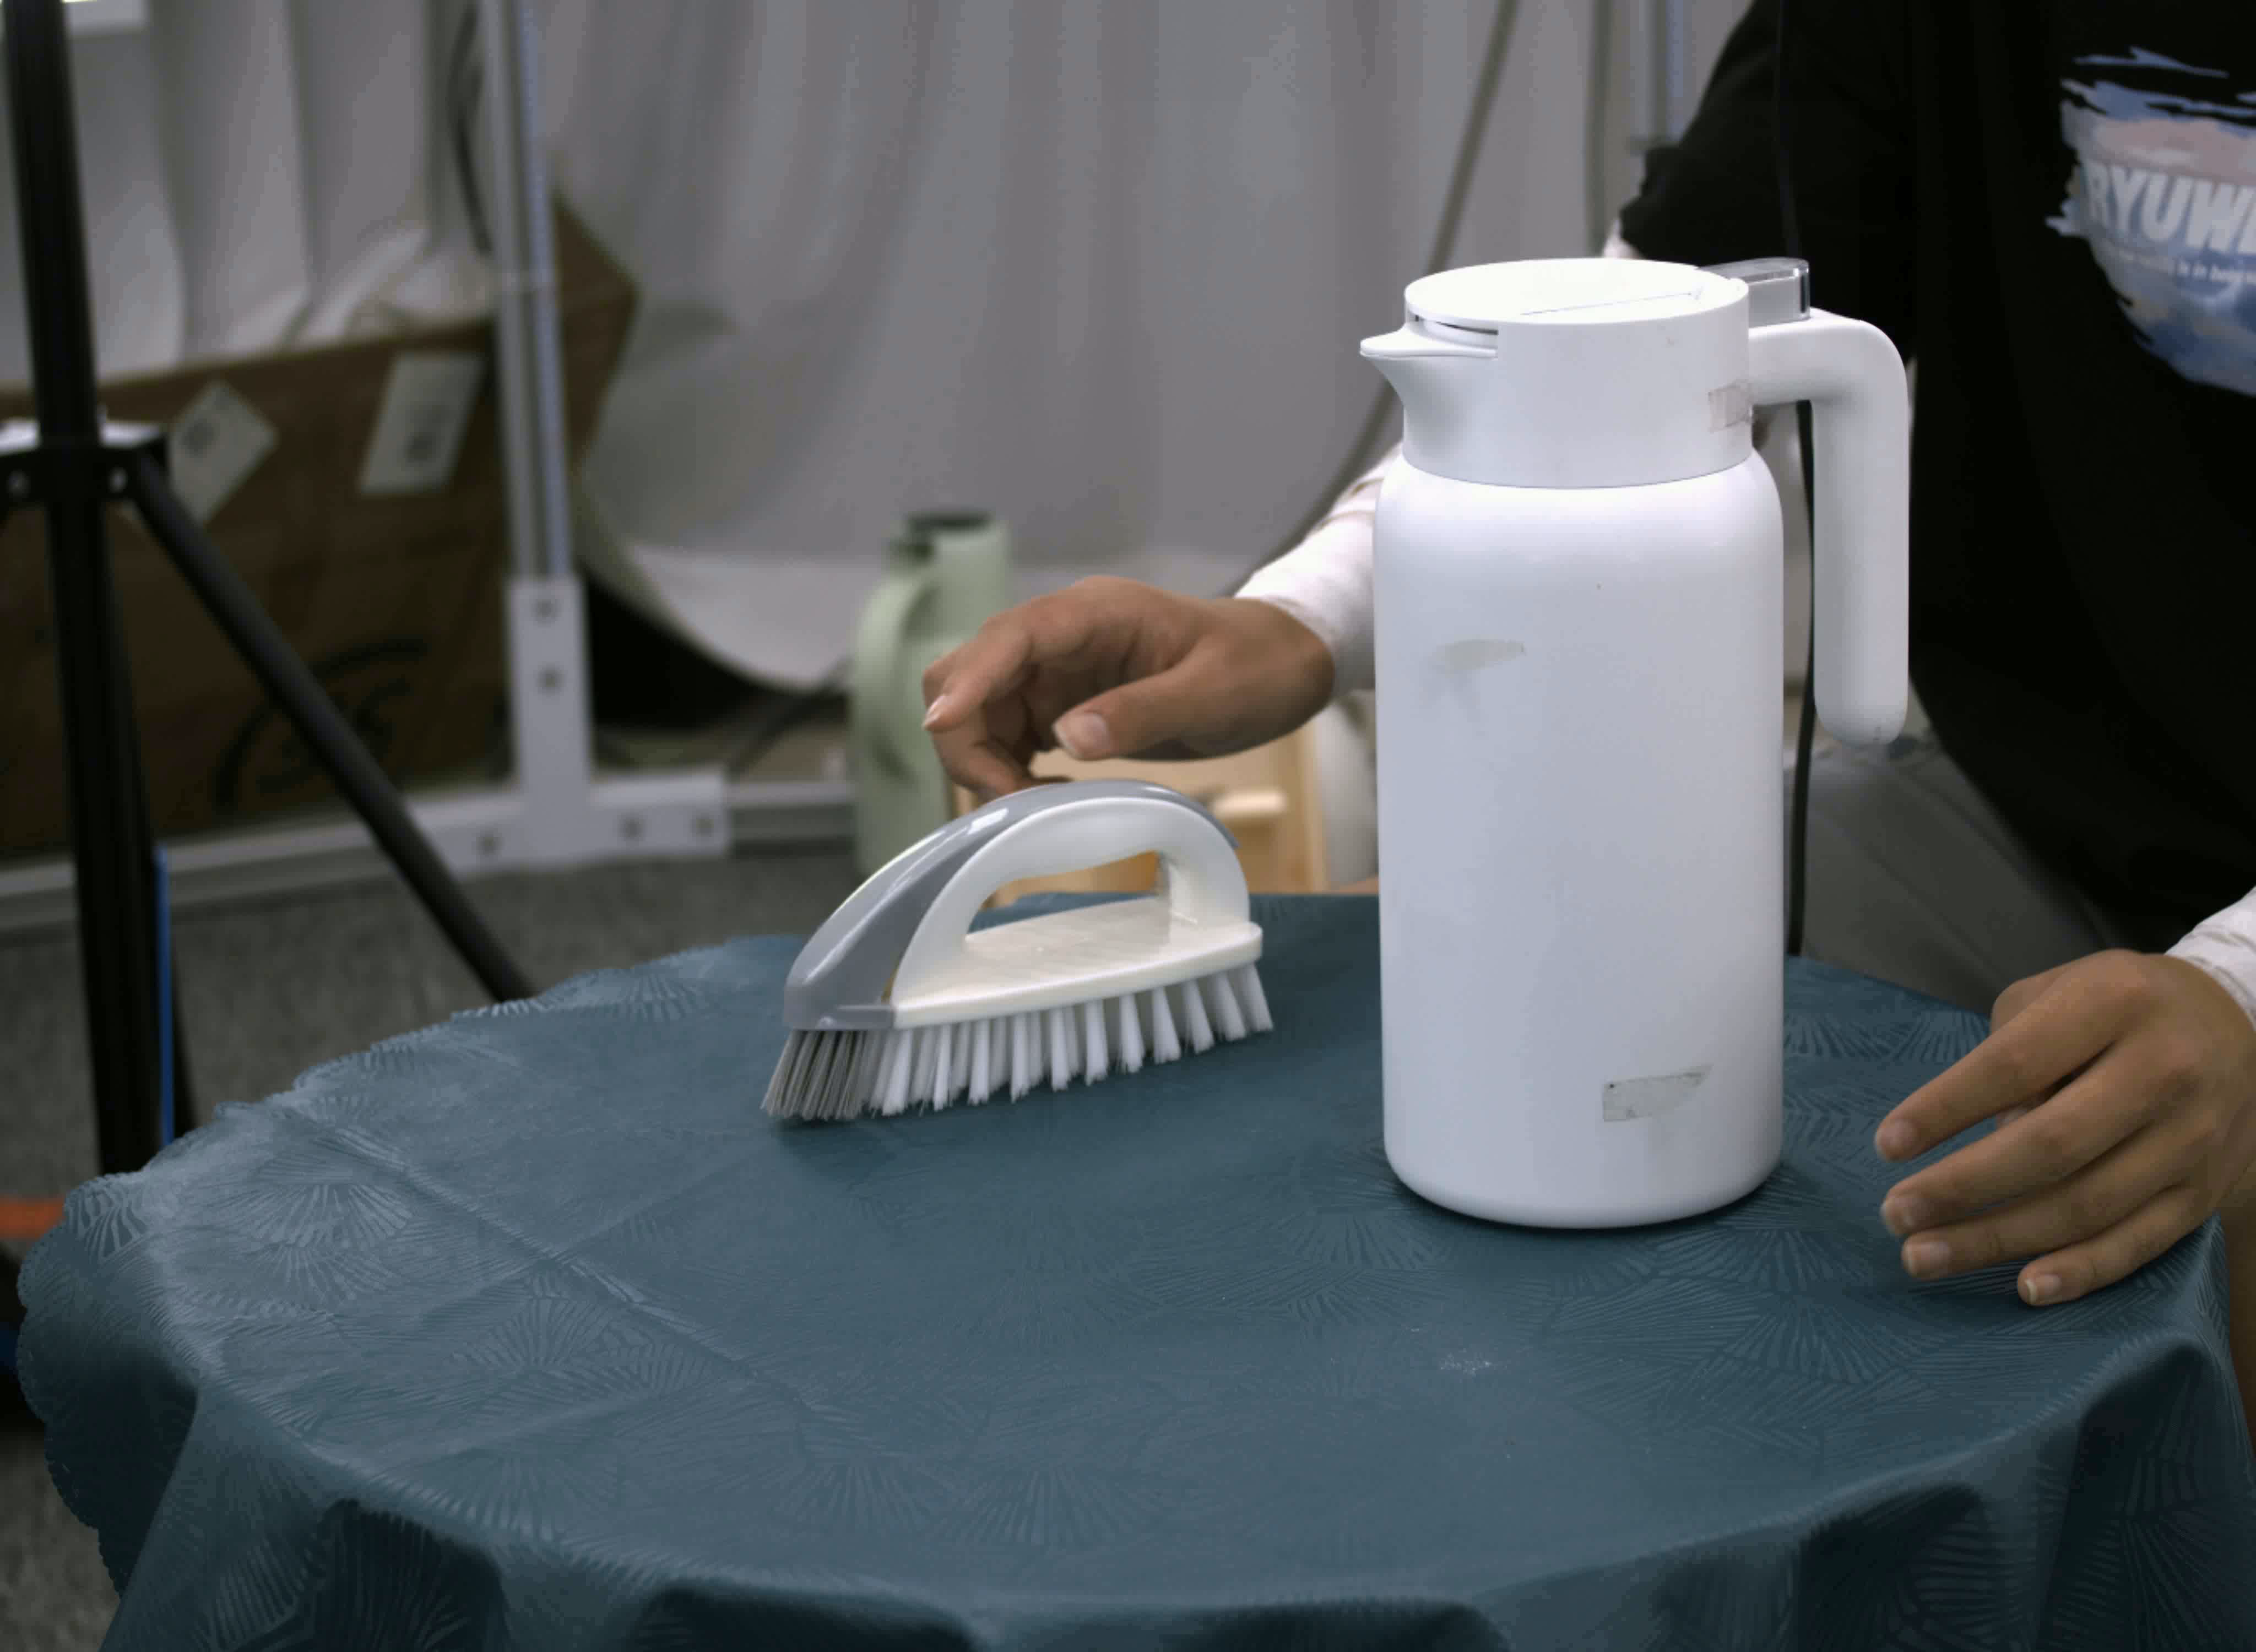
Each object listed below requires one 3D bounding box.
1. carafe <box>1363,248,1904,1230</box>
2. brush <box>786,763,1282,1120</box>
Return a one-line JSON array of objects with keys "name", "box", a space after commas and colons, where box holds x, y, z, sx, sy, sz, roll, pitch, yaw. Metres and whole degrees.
[{"name": "carafe", "box": [0.144, -0.028, 1.531, 0.169, 0.269, 0.126, -9, 14, -25]}, {"name": "brush", "box": [-0.035, 0.034, 1.659, 0.172, 0.094, 0.063, -13, 16, -30]}]
